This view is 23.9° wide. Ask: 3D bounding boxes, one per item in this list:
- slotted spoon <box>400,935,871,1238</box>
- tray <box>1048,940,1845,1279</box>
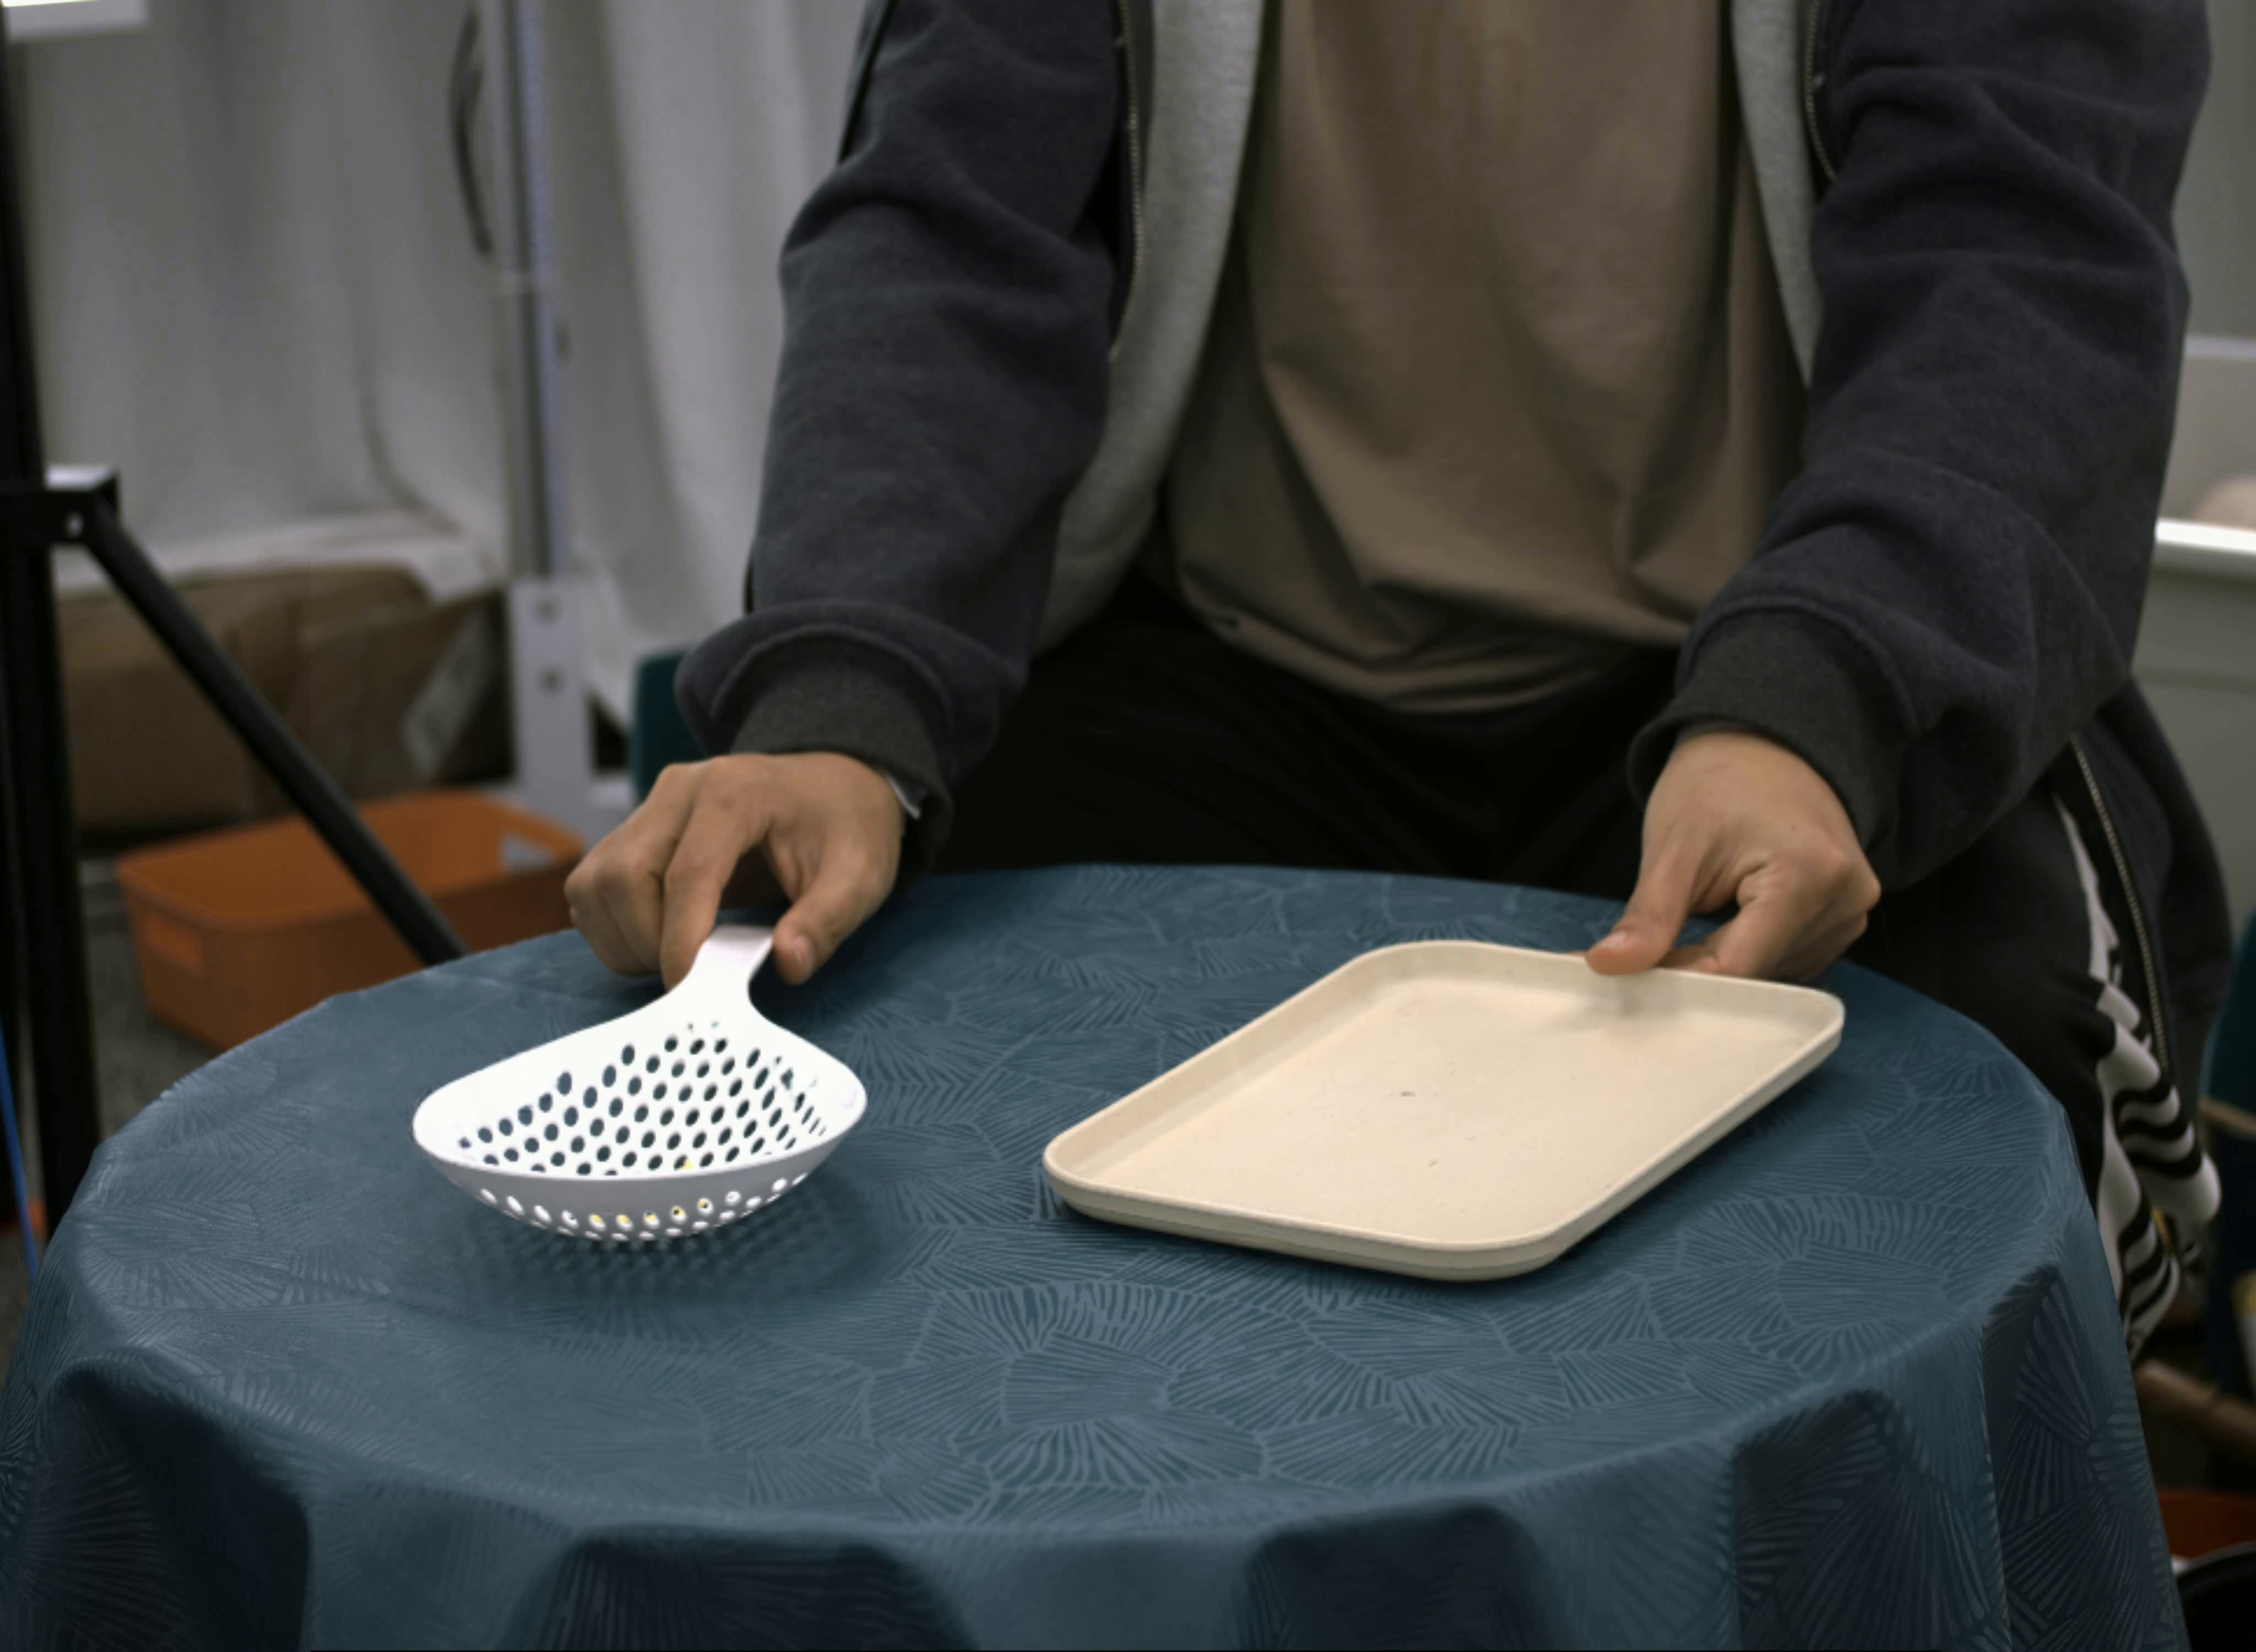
[{"bbox_3d":[-0.134,0.067,1.652,0.137,0.050,0.348,-3,16,5],"label":"slotted spoon"},{"bbox_3d":[0.099,0.083,1.588,0.174,0.017,0.235,7,20,33],"label":"tray"}]
